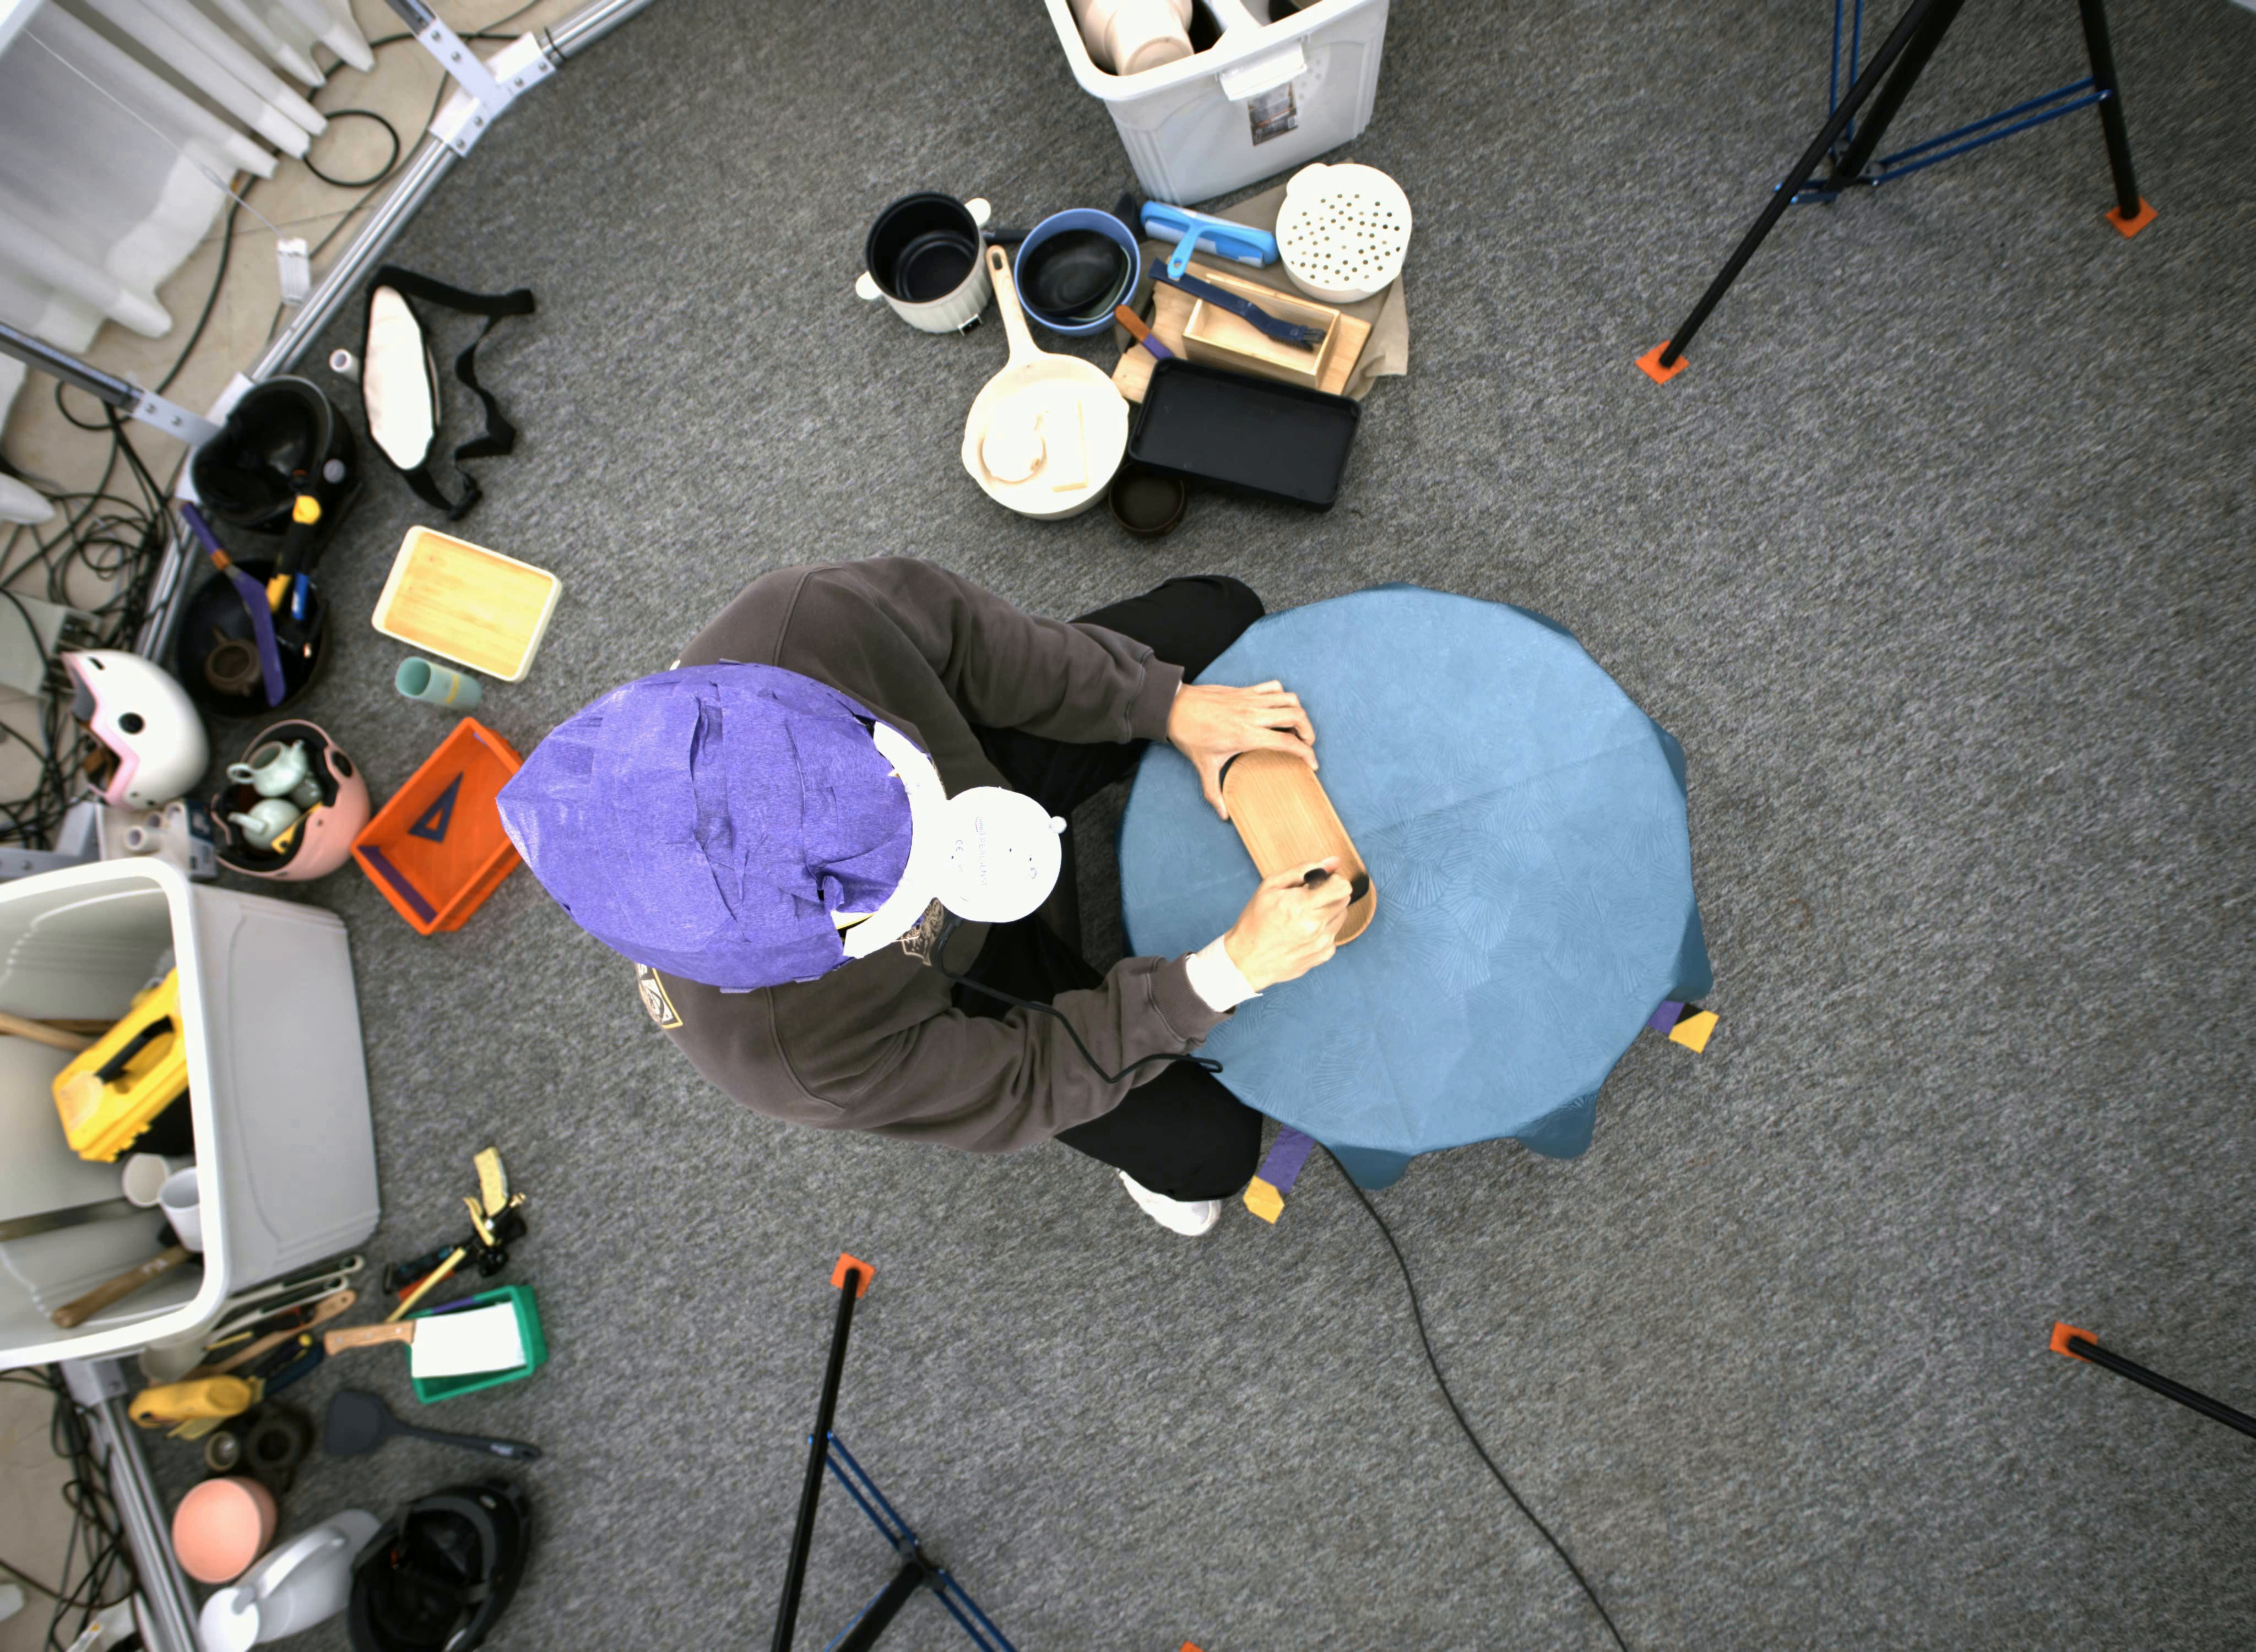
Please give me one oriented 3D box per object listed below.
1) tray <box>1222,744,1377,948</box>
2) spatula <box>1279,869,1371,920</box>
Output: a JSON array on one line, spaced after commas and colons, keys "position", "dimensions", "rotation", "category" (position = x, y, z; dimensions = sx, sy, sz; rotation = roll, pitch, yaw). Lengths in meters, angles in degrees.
[{"position": [0.181, 0.020, 1.468], "dimensions": [0.102, 0.020, 0.230], "rotation": [-28, 84, 7], "category": "tray"}, {"position": [0.181, 0.054, 1.297], "dimensions": [0.100, 0.327, 0.040], "rotation": [-20, 76, 8], "category": "spatula"}]
